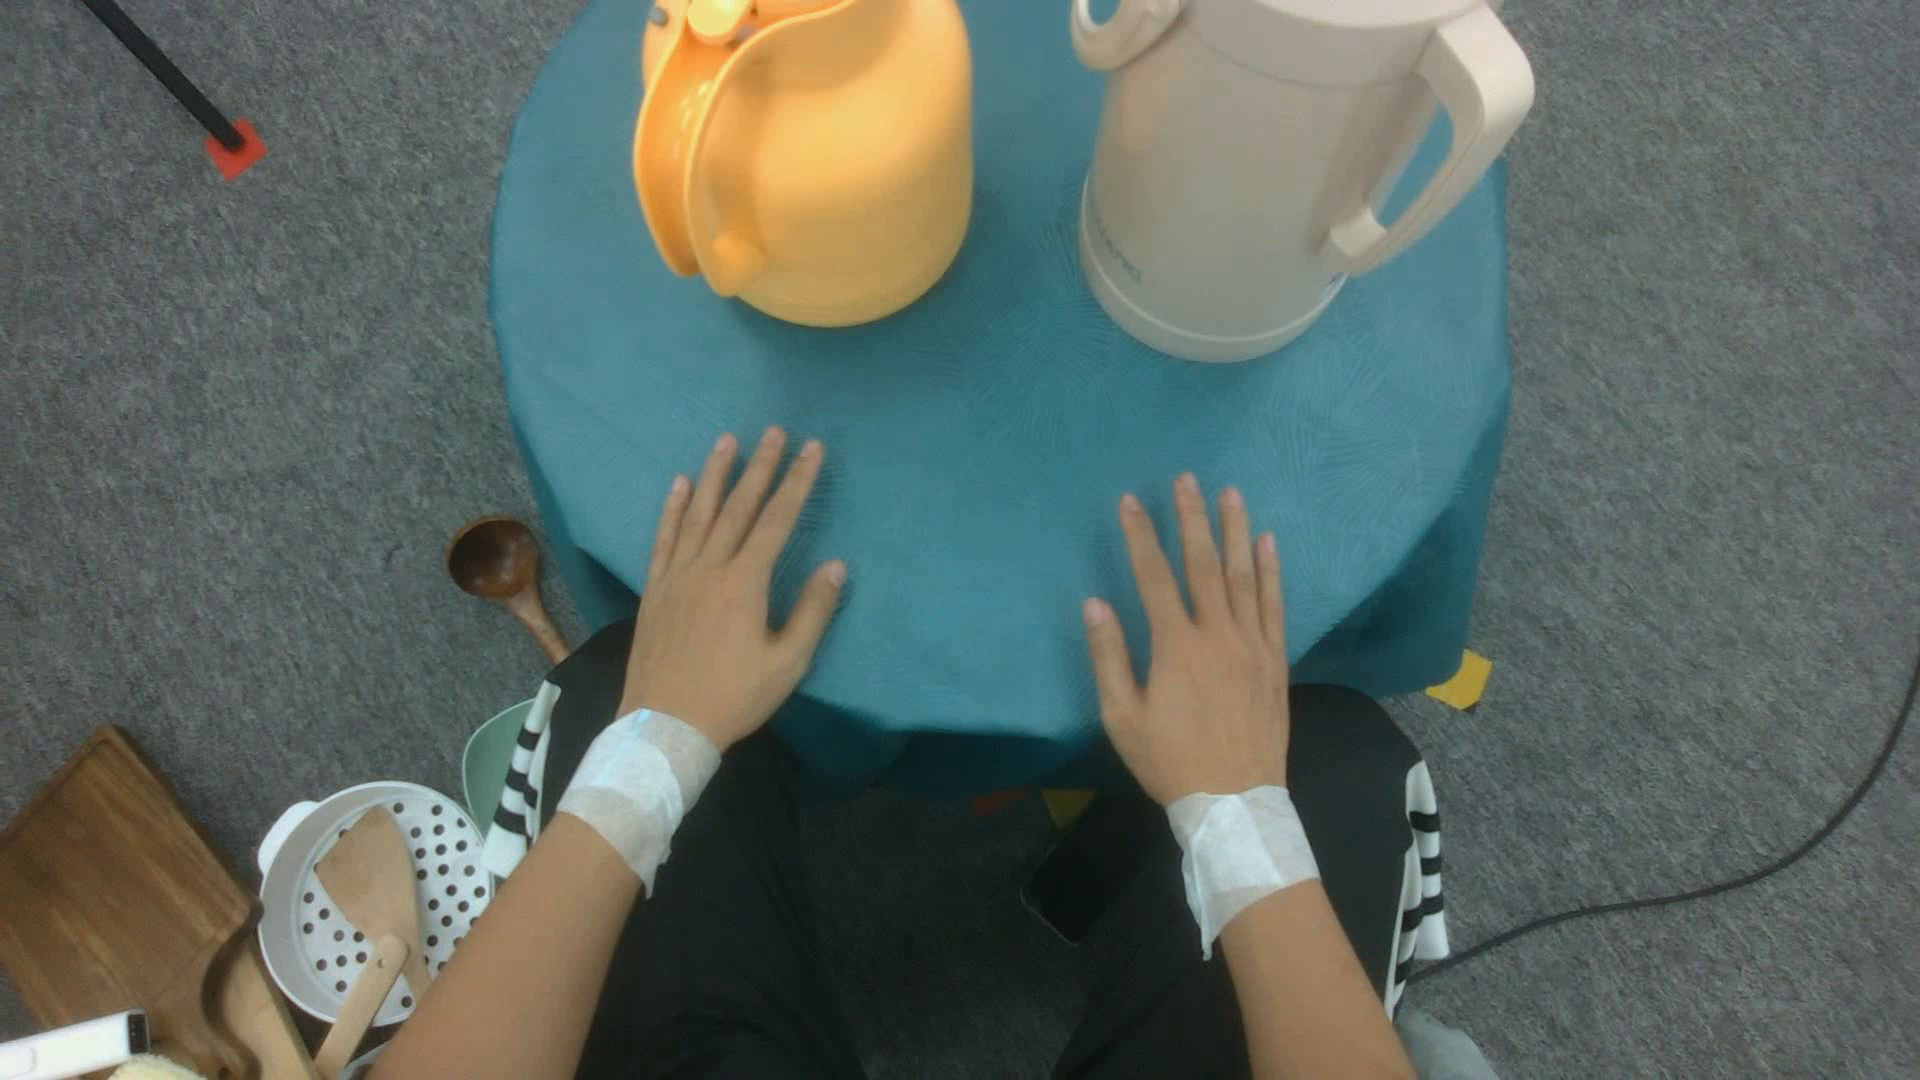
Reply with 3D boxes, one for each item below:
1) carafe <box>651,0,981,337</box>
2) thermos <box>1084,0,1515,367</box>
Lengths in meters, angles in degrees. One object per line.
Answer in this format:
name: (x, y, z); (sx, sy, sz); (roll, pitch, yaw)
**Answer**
carafe: (-0.080, -0.208, 0.701); (0.163, 0.259, 0.203); (27, 74, 10)
thermos: (0.157, -0.220, 0.635); (0.175, 0.405, 0.207); (-27, 75, -9)
